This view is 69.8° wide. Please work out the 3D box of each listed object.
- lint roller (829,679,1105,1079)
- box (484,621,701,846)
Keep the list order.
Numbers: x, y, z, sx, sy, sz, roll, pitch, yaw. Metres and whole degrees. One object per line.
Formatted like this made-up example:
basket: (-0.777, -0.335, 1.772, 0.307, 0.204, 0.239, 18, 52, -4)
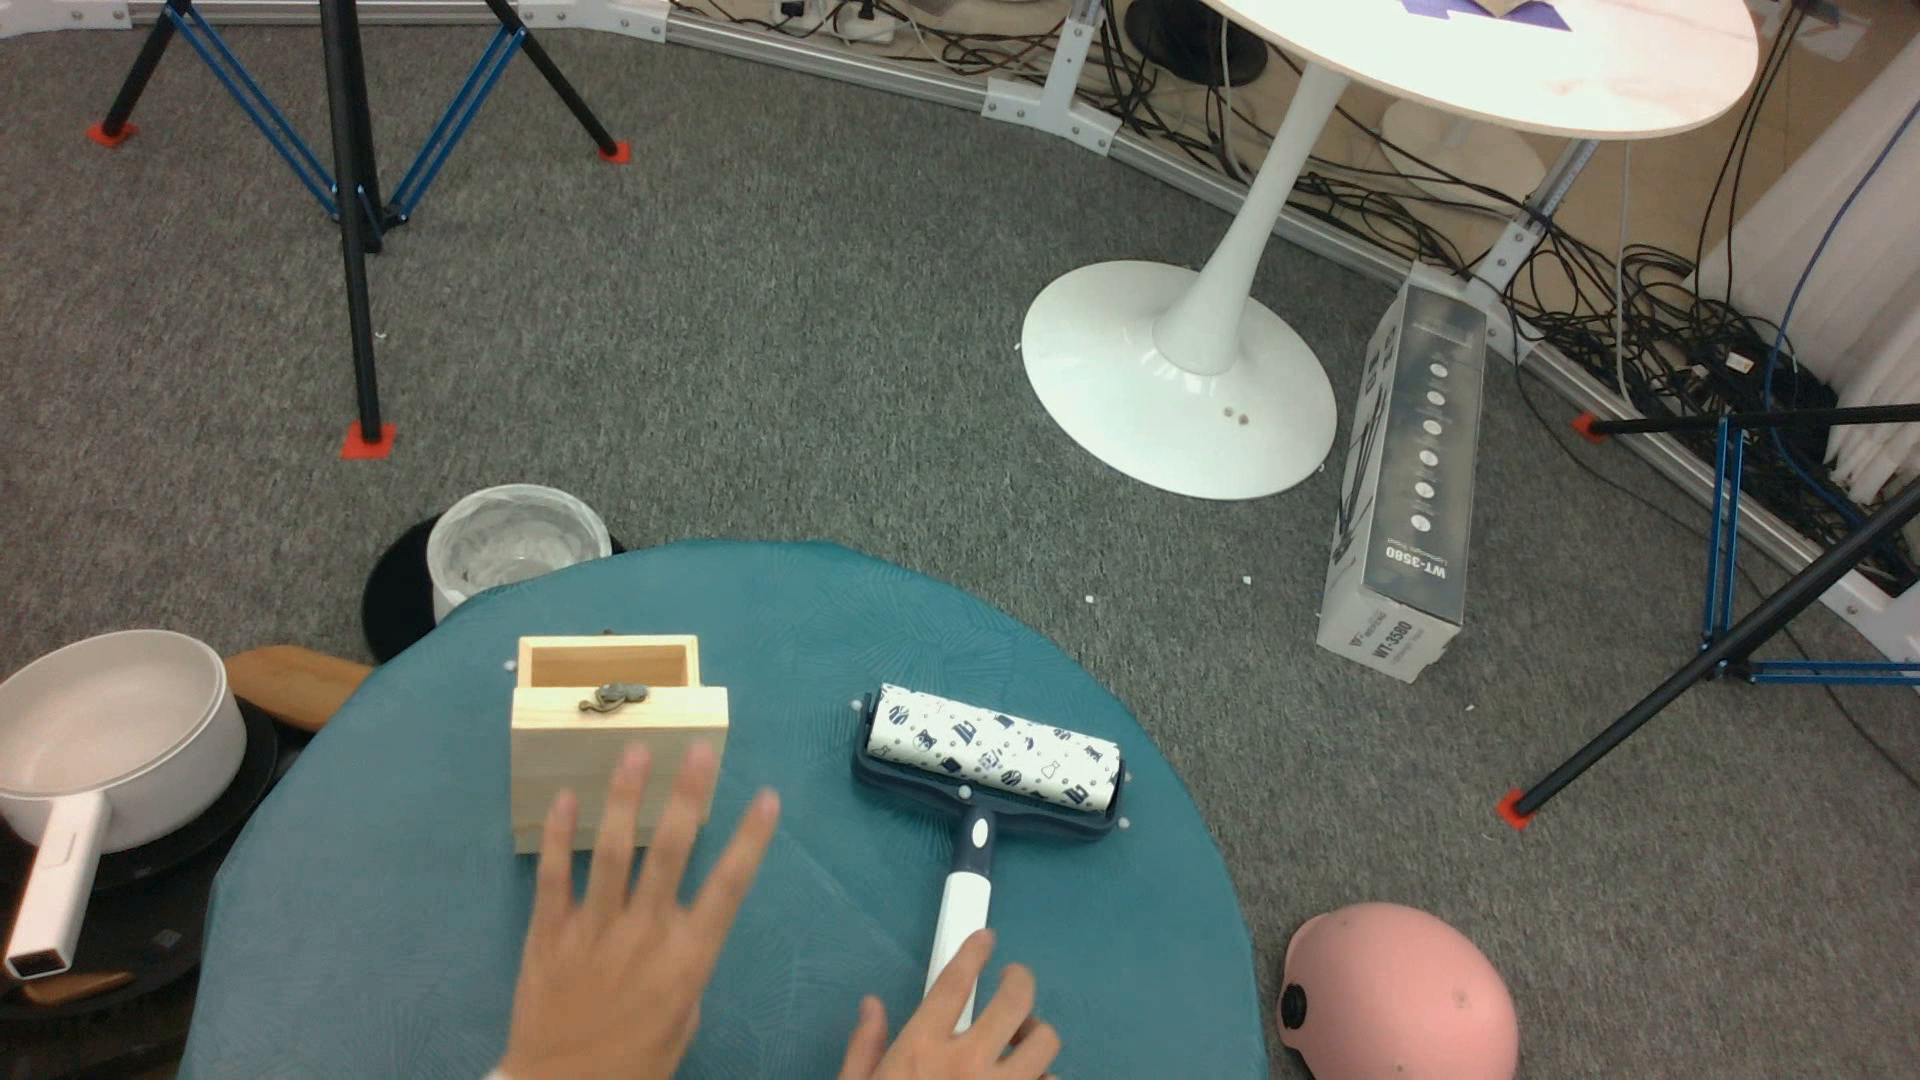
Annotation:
lint roller: (-0.006, 0.208, 0.822, 0.176, 0.050, 0.248, 15, 50, -7)
box: (-0.205, 0.090, 0.760, 0.103, 0.183, 0.134, 1, 53, -17)
